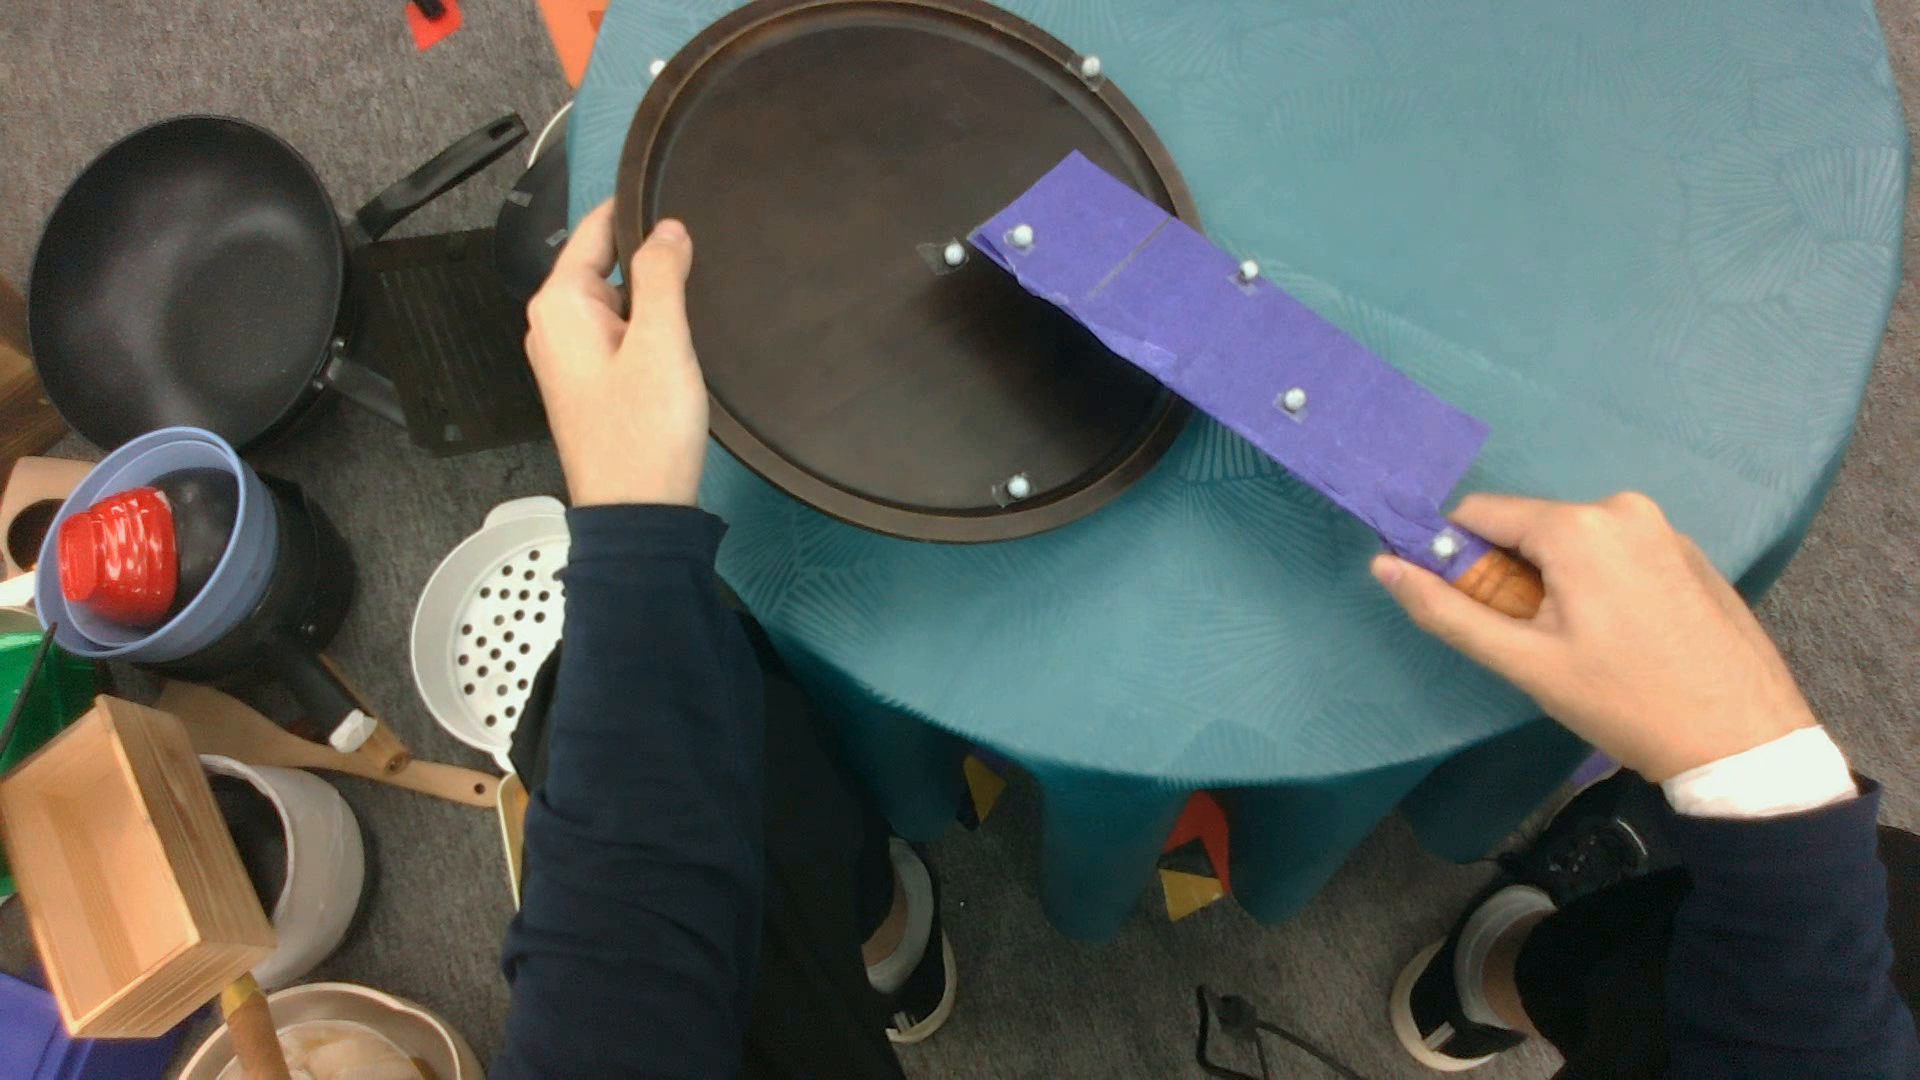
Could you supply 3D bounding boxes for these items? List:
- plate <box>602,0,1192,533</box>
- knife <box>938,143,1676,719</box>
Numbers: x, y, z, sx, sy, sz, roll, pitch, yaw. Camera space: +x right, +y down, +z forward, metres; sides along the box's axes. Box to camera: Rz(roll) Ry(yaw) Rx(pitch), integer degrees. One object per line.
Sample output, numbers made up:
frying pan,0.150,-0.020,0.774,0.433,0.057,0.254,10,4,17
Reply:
plate,-0.018,-0.122,0.568,0.255,0.029,0.255,7,69,-18
knife,0.141,-0.057,0.533,0.315,0.032,0.104,38,51,7
